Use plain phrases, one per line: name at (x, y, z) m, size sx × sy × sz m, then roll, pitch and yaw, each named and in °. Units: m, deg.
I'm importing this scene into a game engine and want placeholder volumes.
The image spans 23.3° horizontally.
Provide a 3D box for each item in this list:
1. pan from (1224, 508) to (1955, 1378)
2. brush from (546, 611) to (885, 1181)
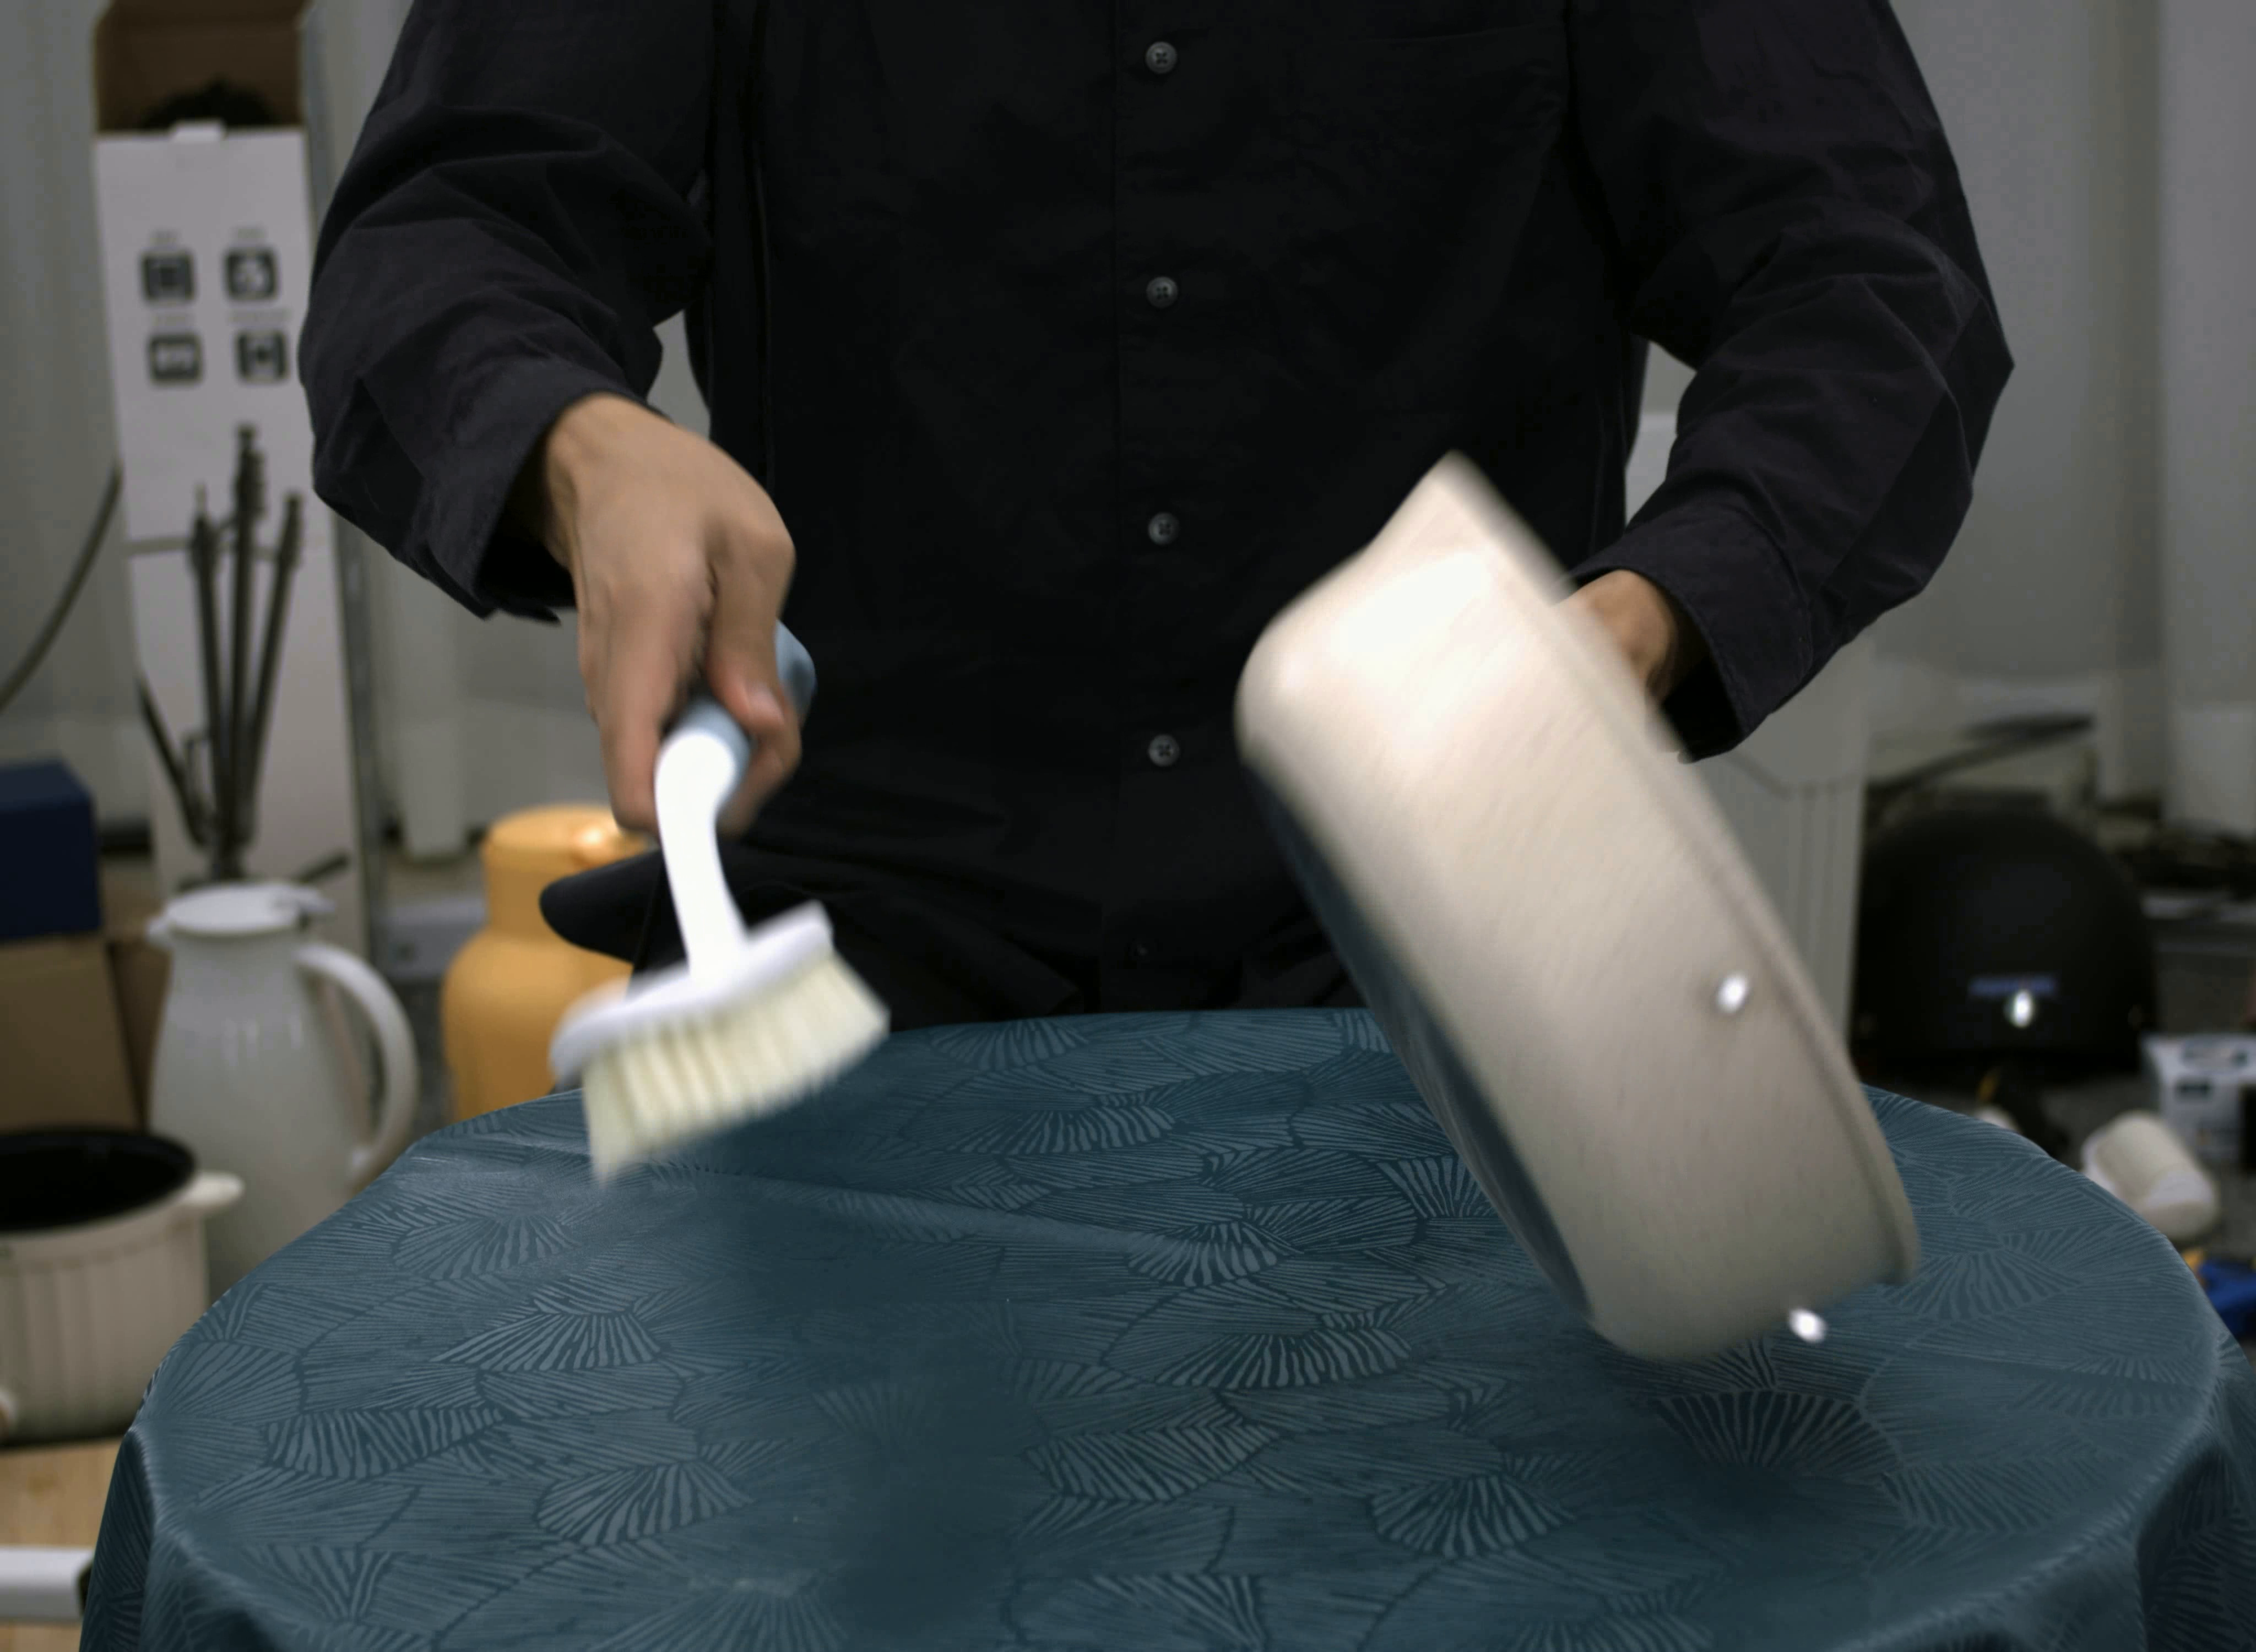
pan at (0.109, 0.024, 1.581) m, size 0.102 × 0.262 × 0.437 m, roll -36°, pitch 11°, yaw -2°
brush at (-0.102, 0.028, 1.552) m, size 0.083 × 0.084 × 0.328 m, roll 12°, pitch 21°, yaw 1°
